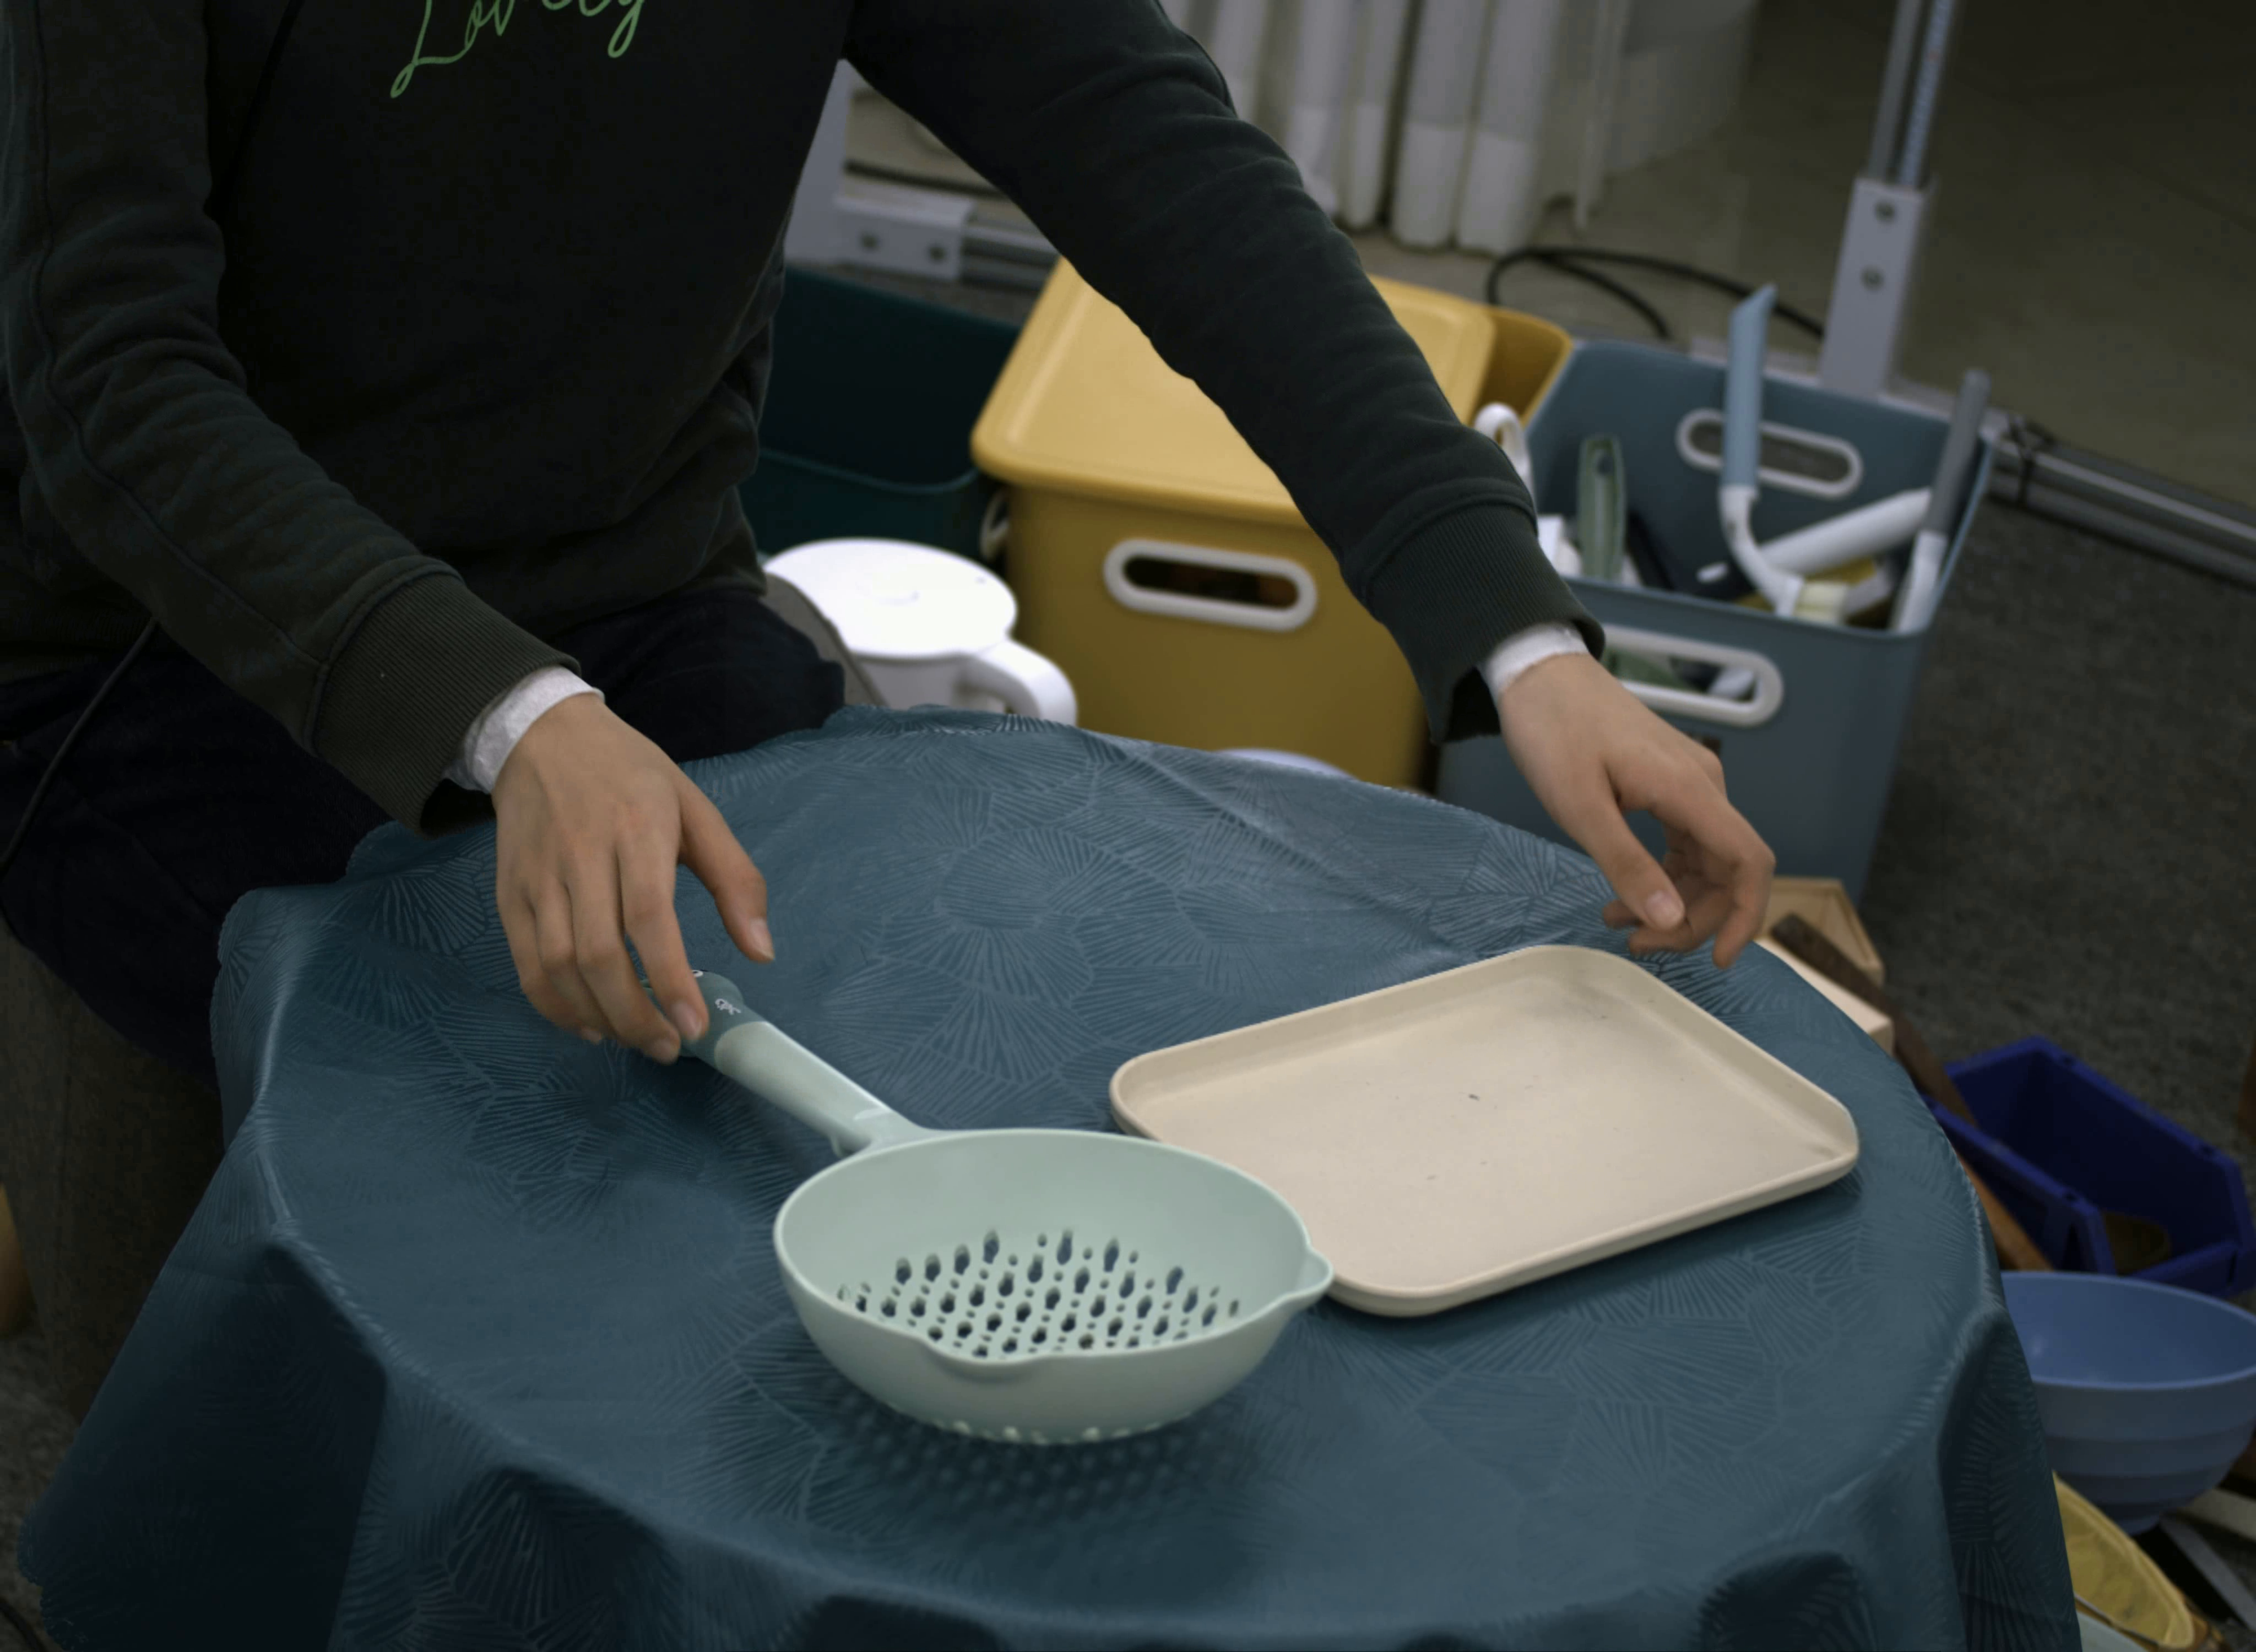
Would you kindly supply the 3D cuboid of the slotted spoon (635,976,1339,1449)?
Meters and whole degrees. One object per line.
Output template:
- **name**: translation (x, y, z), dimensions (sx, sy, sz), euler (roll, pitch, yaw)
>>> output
- **slotted spoon**: translation (-0.077, 0.110, 1.739), dimensions (0.168, 0.075, 0.362), euler (-9, 30, -30)

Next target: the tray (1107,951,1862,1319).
- **tray**: translation (0.124, 0.106, 1.845), dimensions (0.238, 0.017, 0.173), euler (-13, 33, -35)
